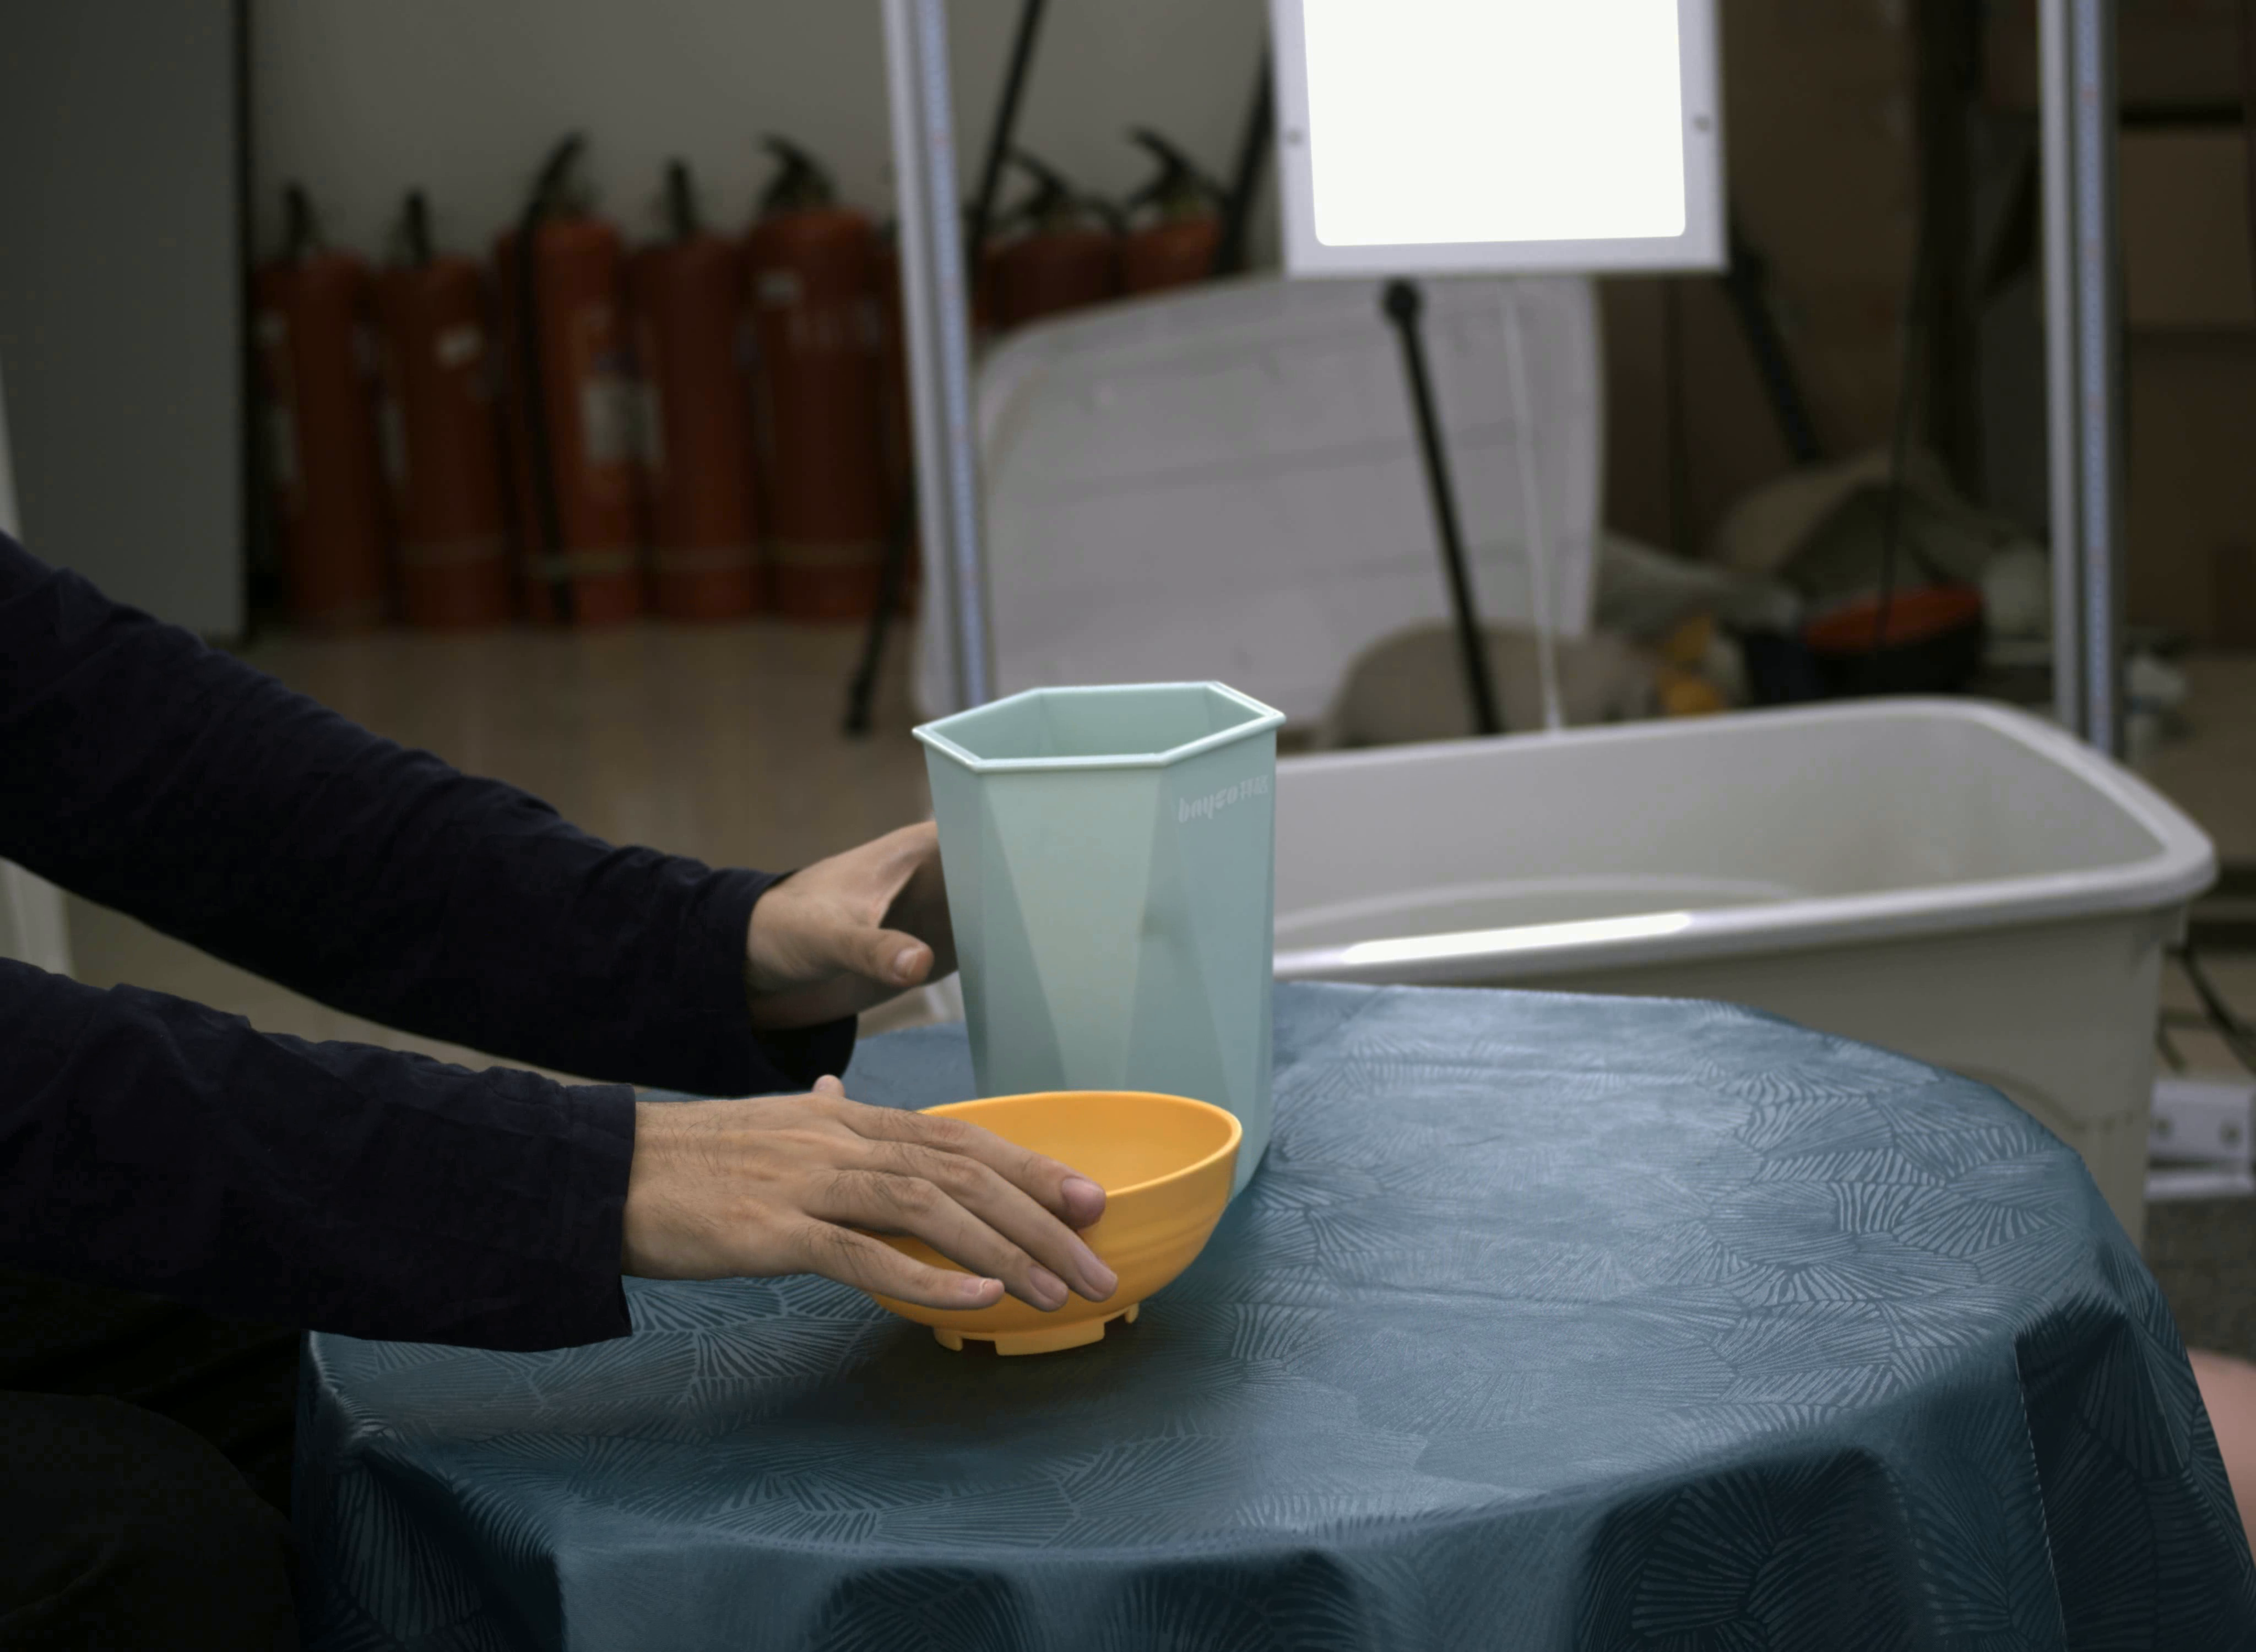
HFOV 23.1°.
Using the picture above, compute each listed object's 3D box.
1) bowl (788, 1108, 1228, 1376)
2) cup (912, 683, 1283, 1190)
[{"bbox_3d":[-0.033,0.137,1.761,0.145,0.060,0.145,-12,10,1],"label":"bowl"},{"bbox_3d":[-0.004,0.041,1.909,0.117,0.163,0.128,4,14,38],"label":"cup"}]
